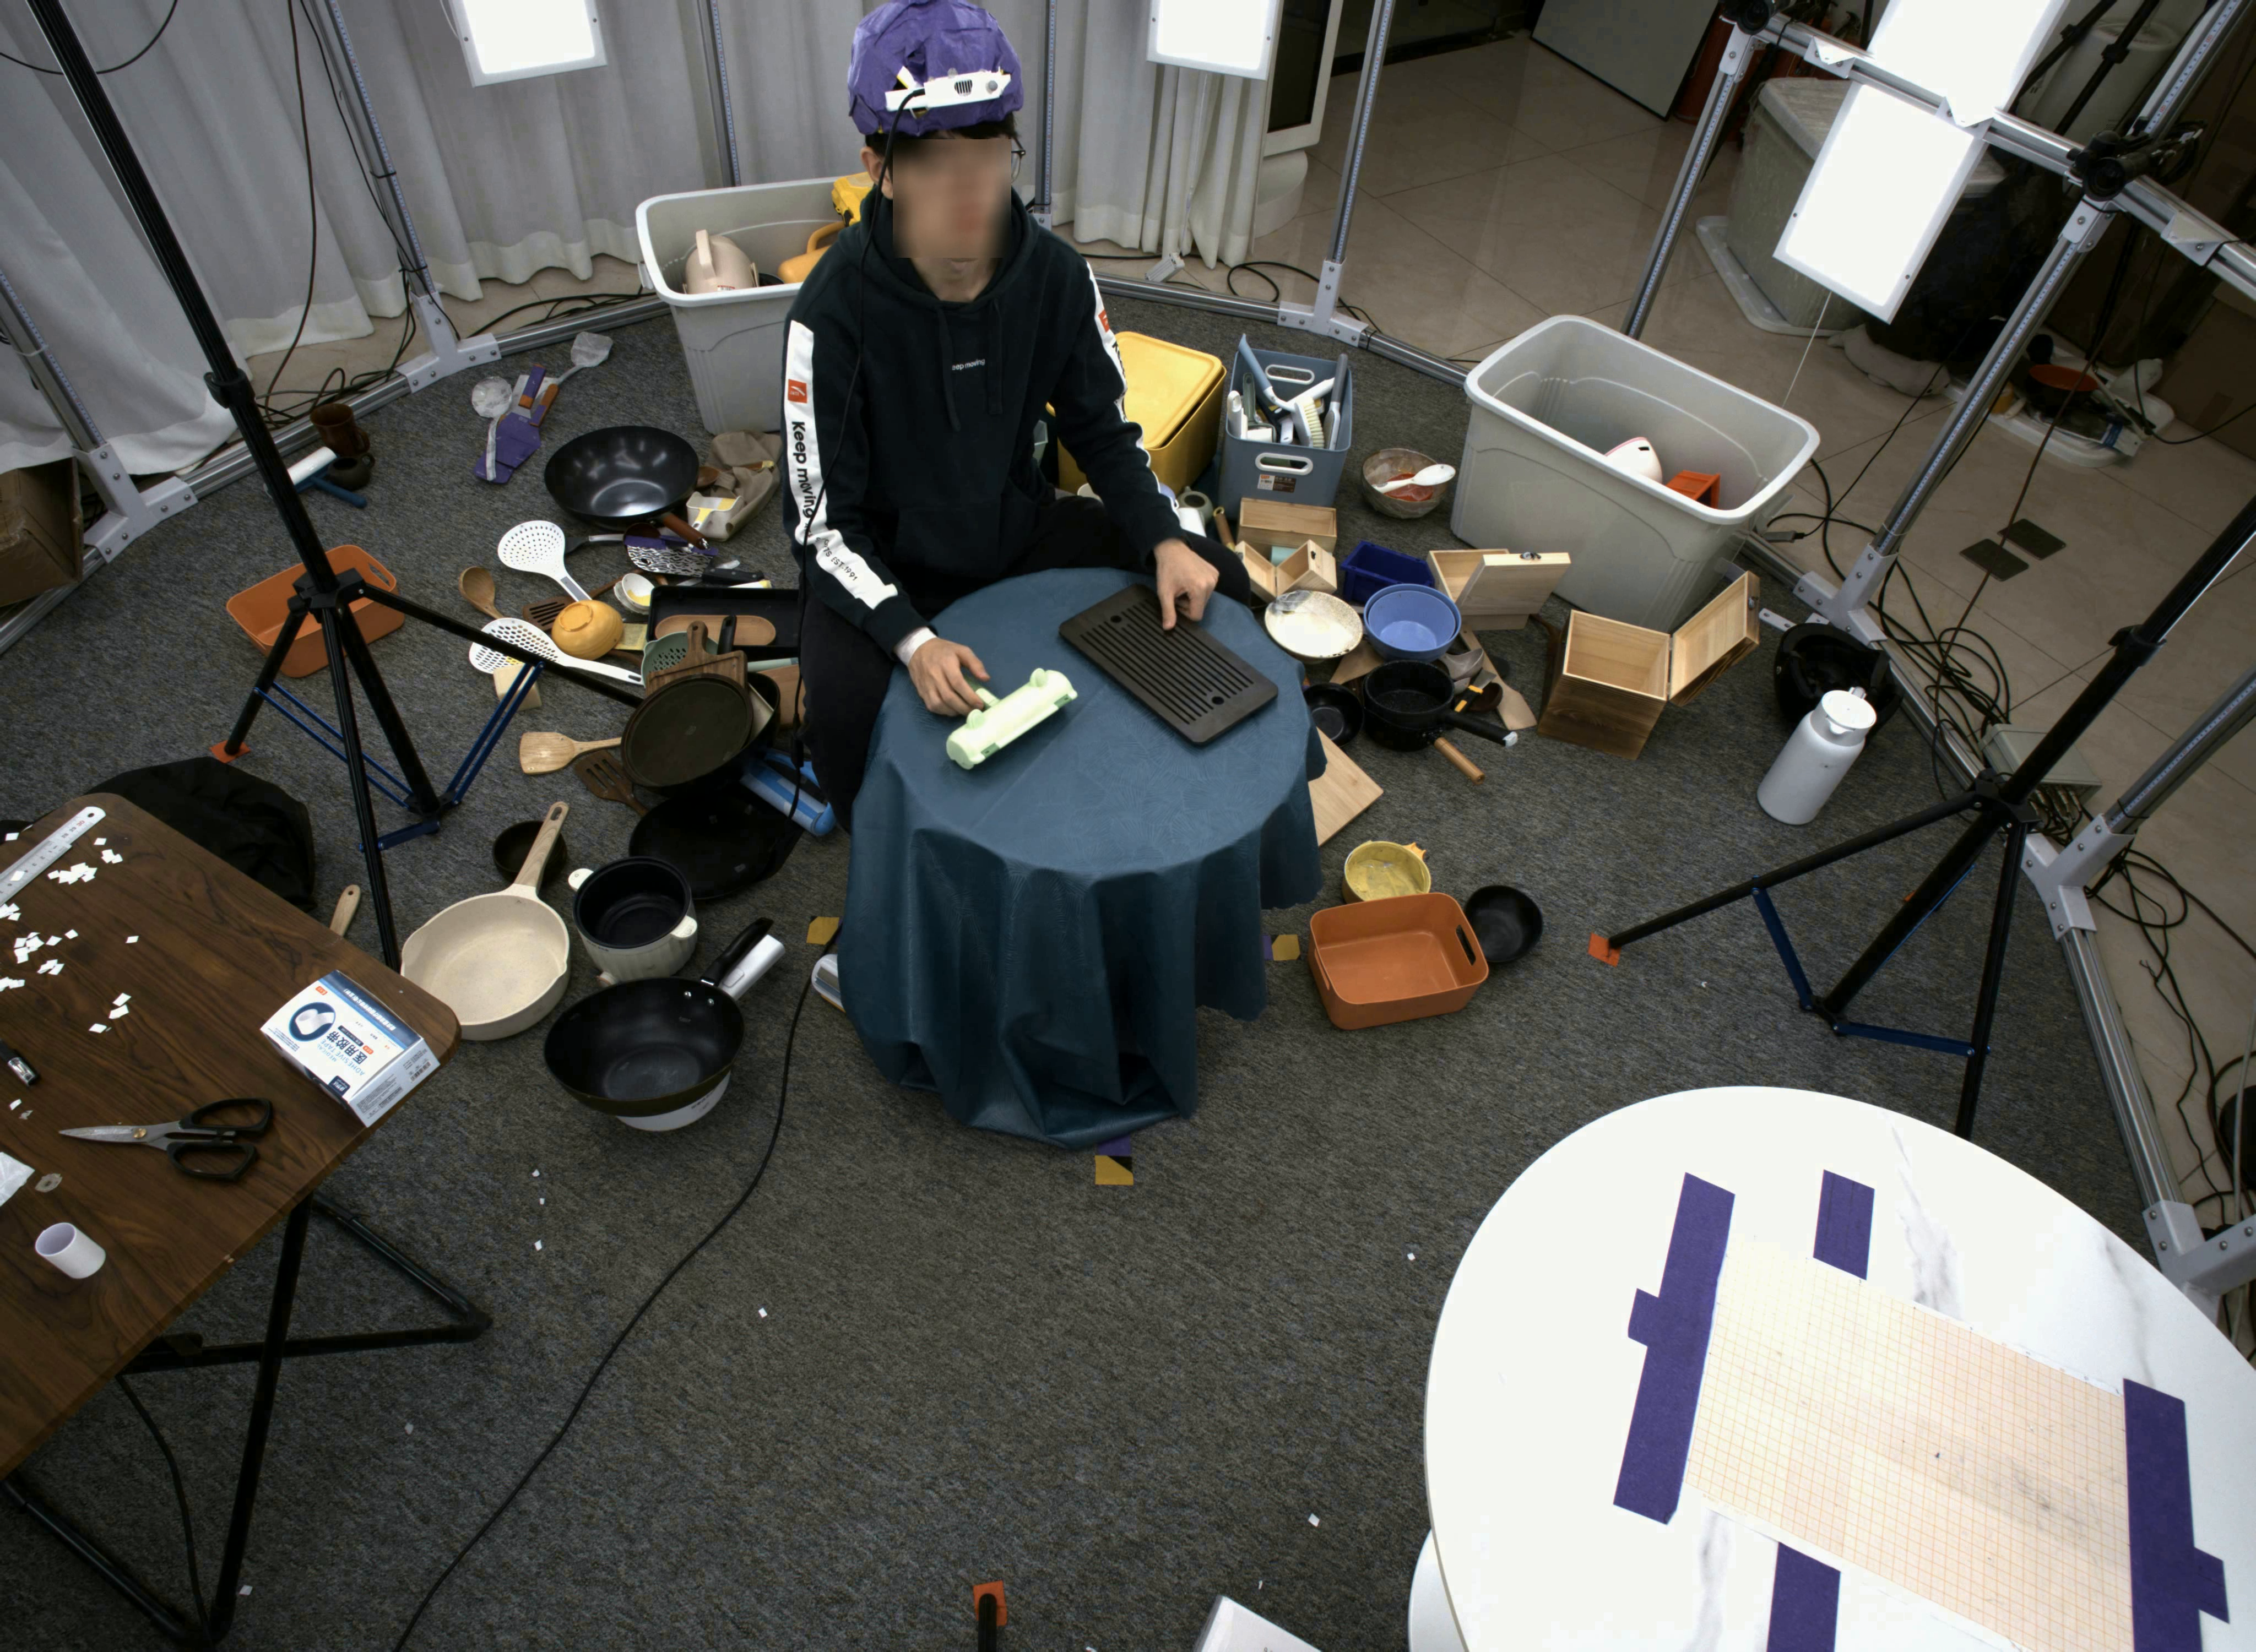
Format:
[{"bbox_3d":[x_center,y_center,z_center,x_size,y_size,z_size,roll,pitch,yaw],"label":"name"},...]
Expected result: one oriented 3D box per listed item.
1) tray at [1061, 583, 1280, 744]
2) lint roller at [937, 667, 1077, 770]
[{"bbox_3d":[0.059,-0.240,1.868,0.171,0.018,0.311,-33,58,-27],"label":"tray"},{"bbox_3d":[-0.198,-0.183,1.763,0.186,0.080,0.200,39,58,23],"label":"lint roller"}]
